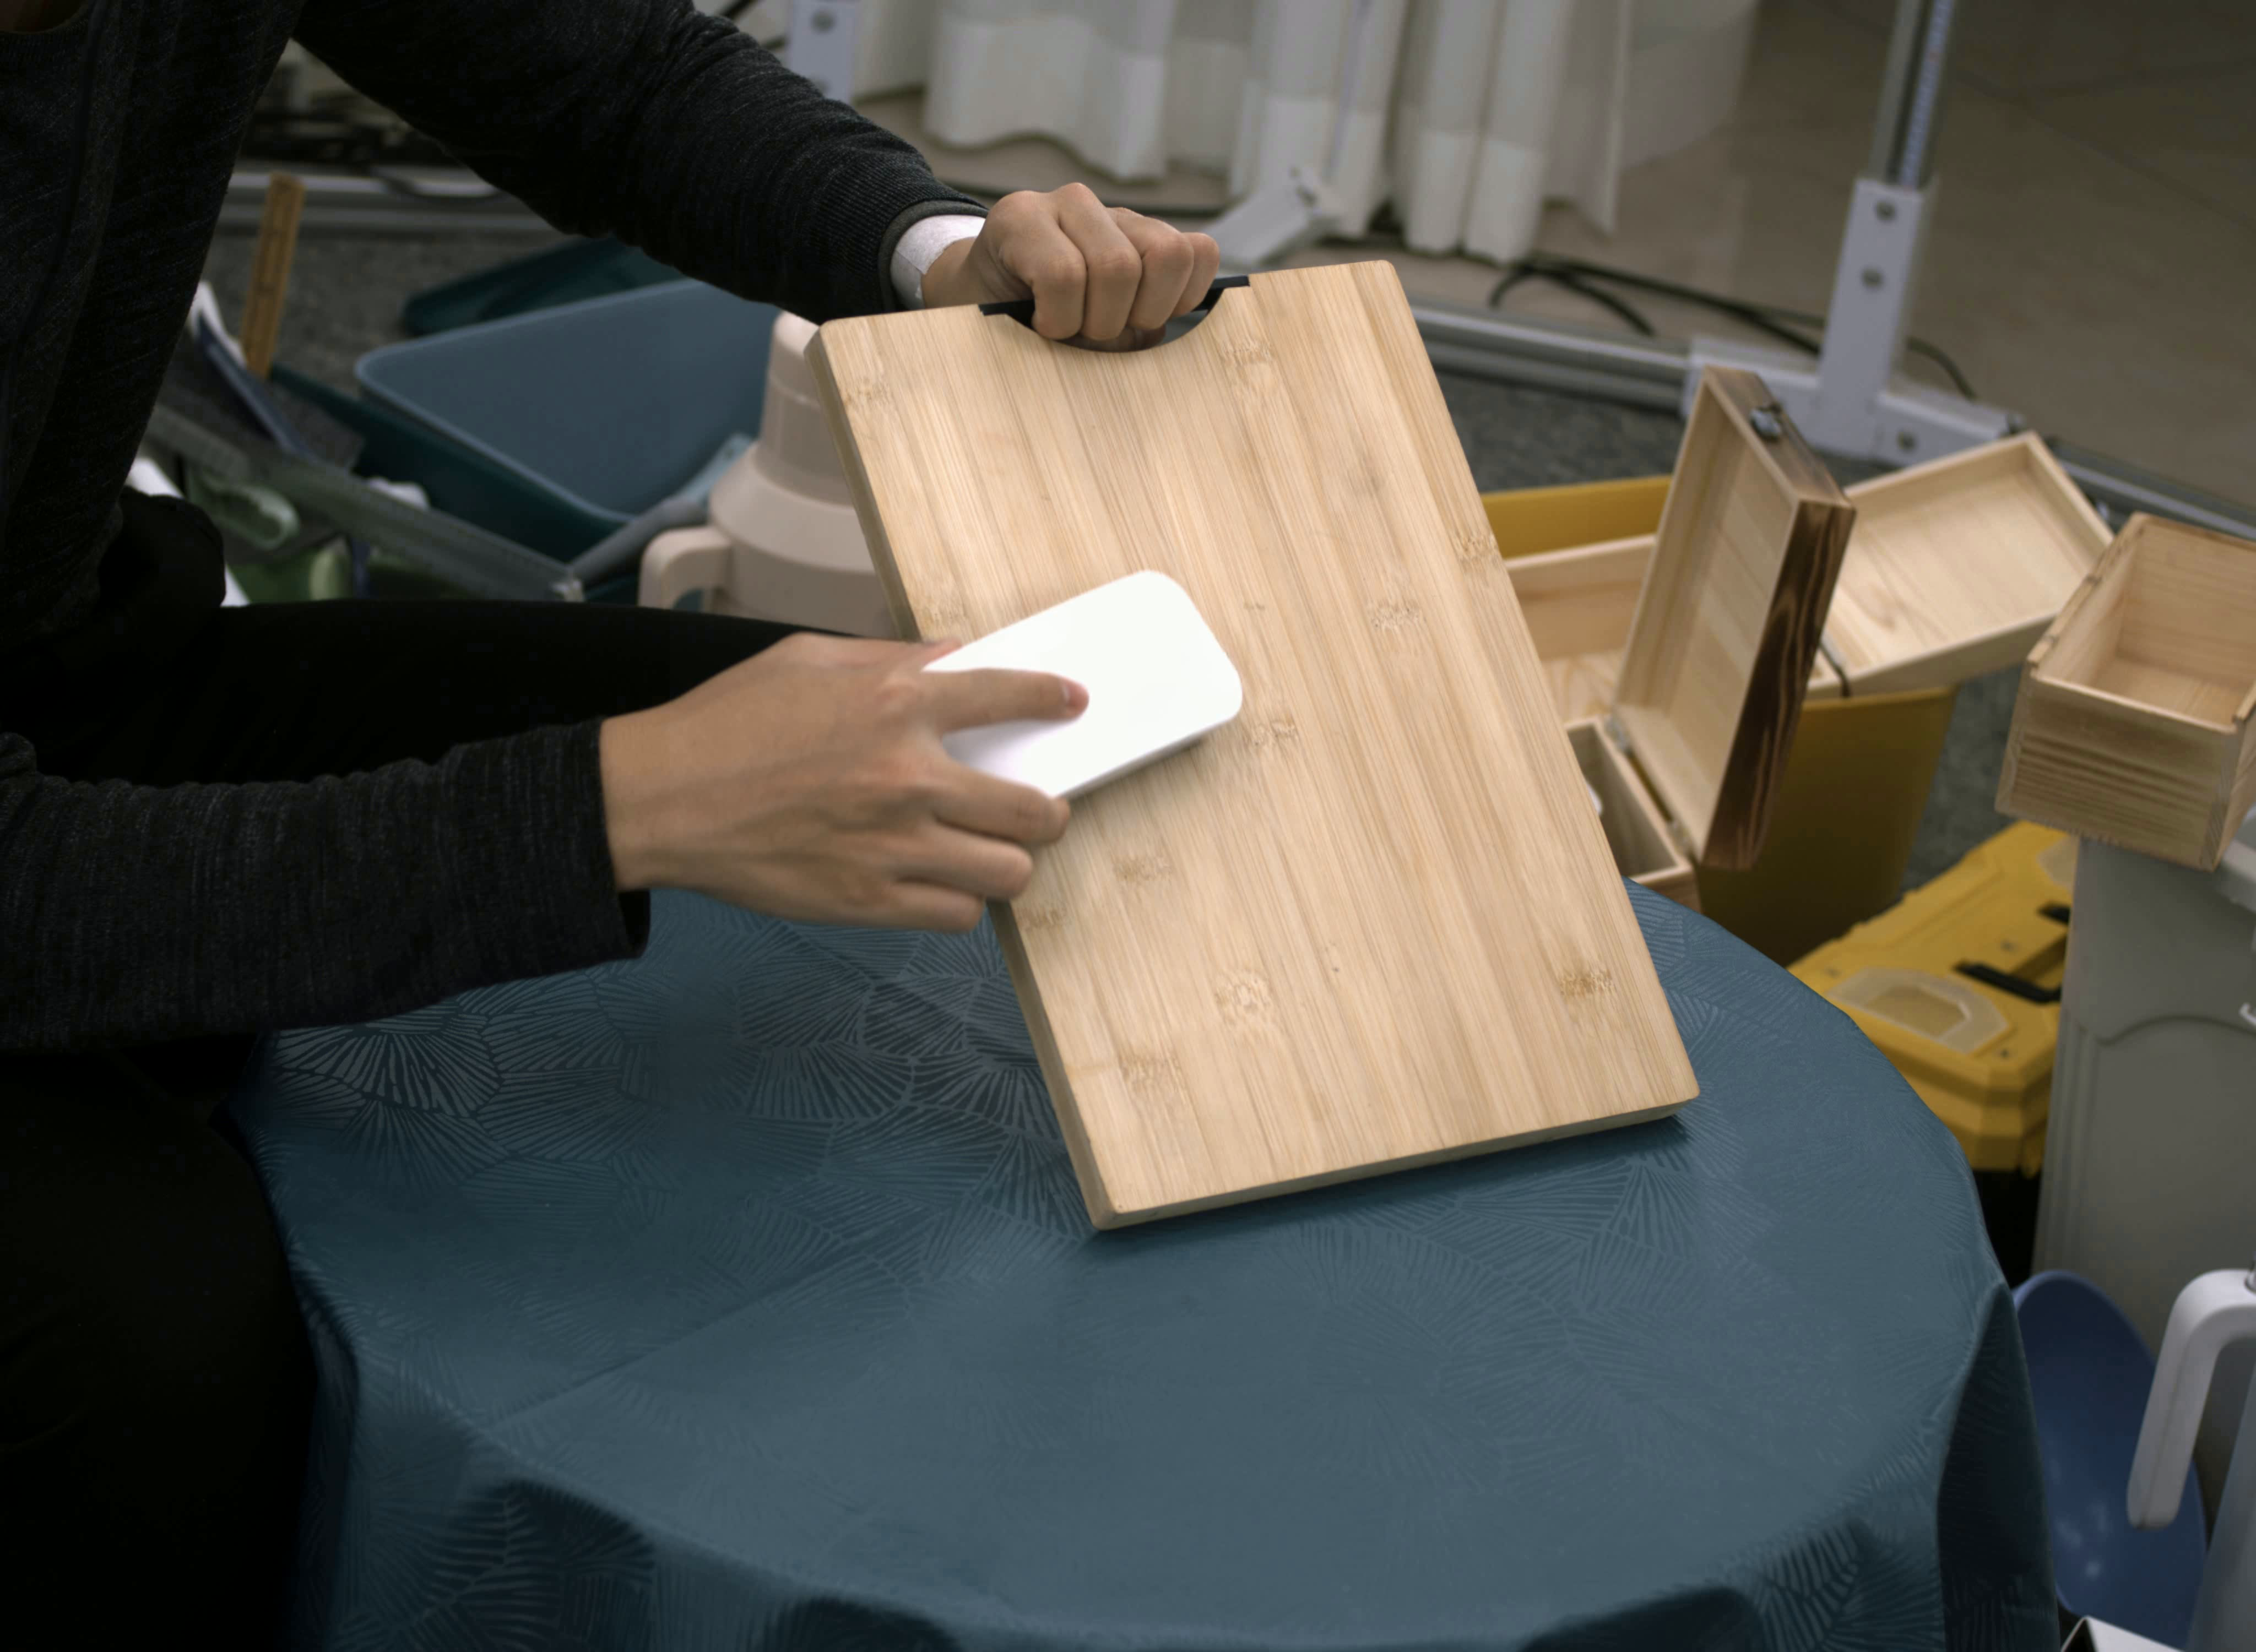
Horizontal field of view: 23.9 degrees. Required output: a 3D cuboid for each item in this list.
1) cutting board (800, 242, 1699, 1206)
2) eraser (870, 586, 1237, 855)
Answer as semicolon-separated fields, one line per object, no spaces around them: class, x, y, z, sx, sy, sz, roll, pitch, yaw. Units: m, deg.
cutting board;0.042;-0.042;1.882;0.249;0.023;0.351;-9;69;-28
eraser;-0.026;-0.038;1.818;0.131;0.034;0.064;-23;76;-33
